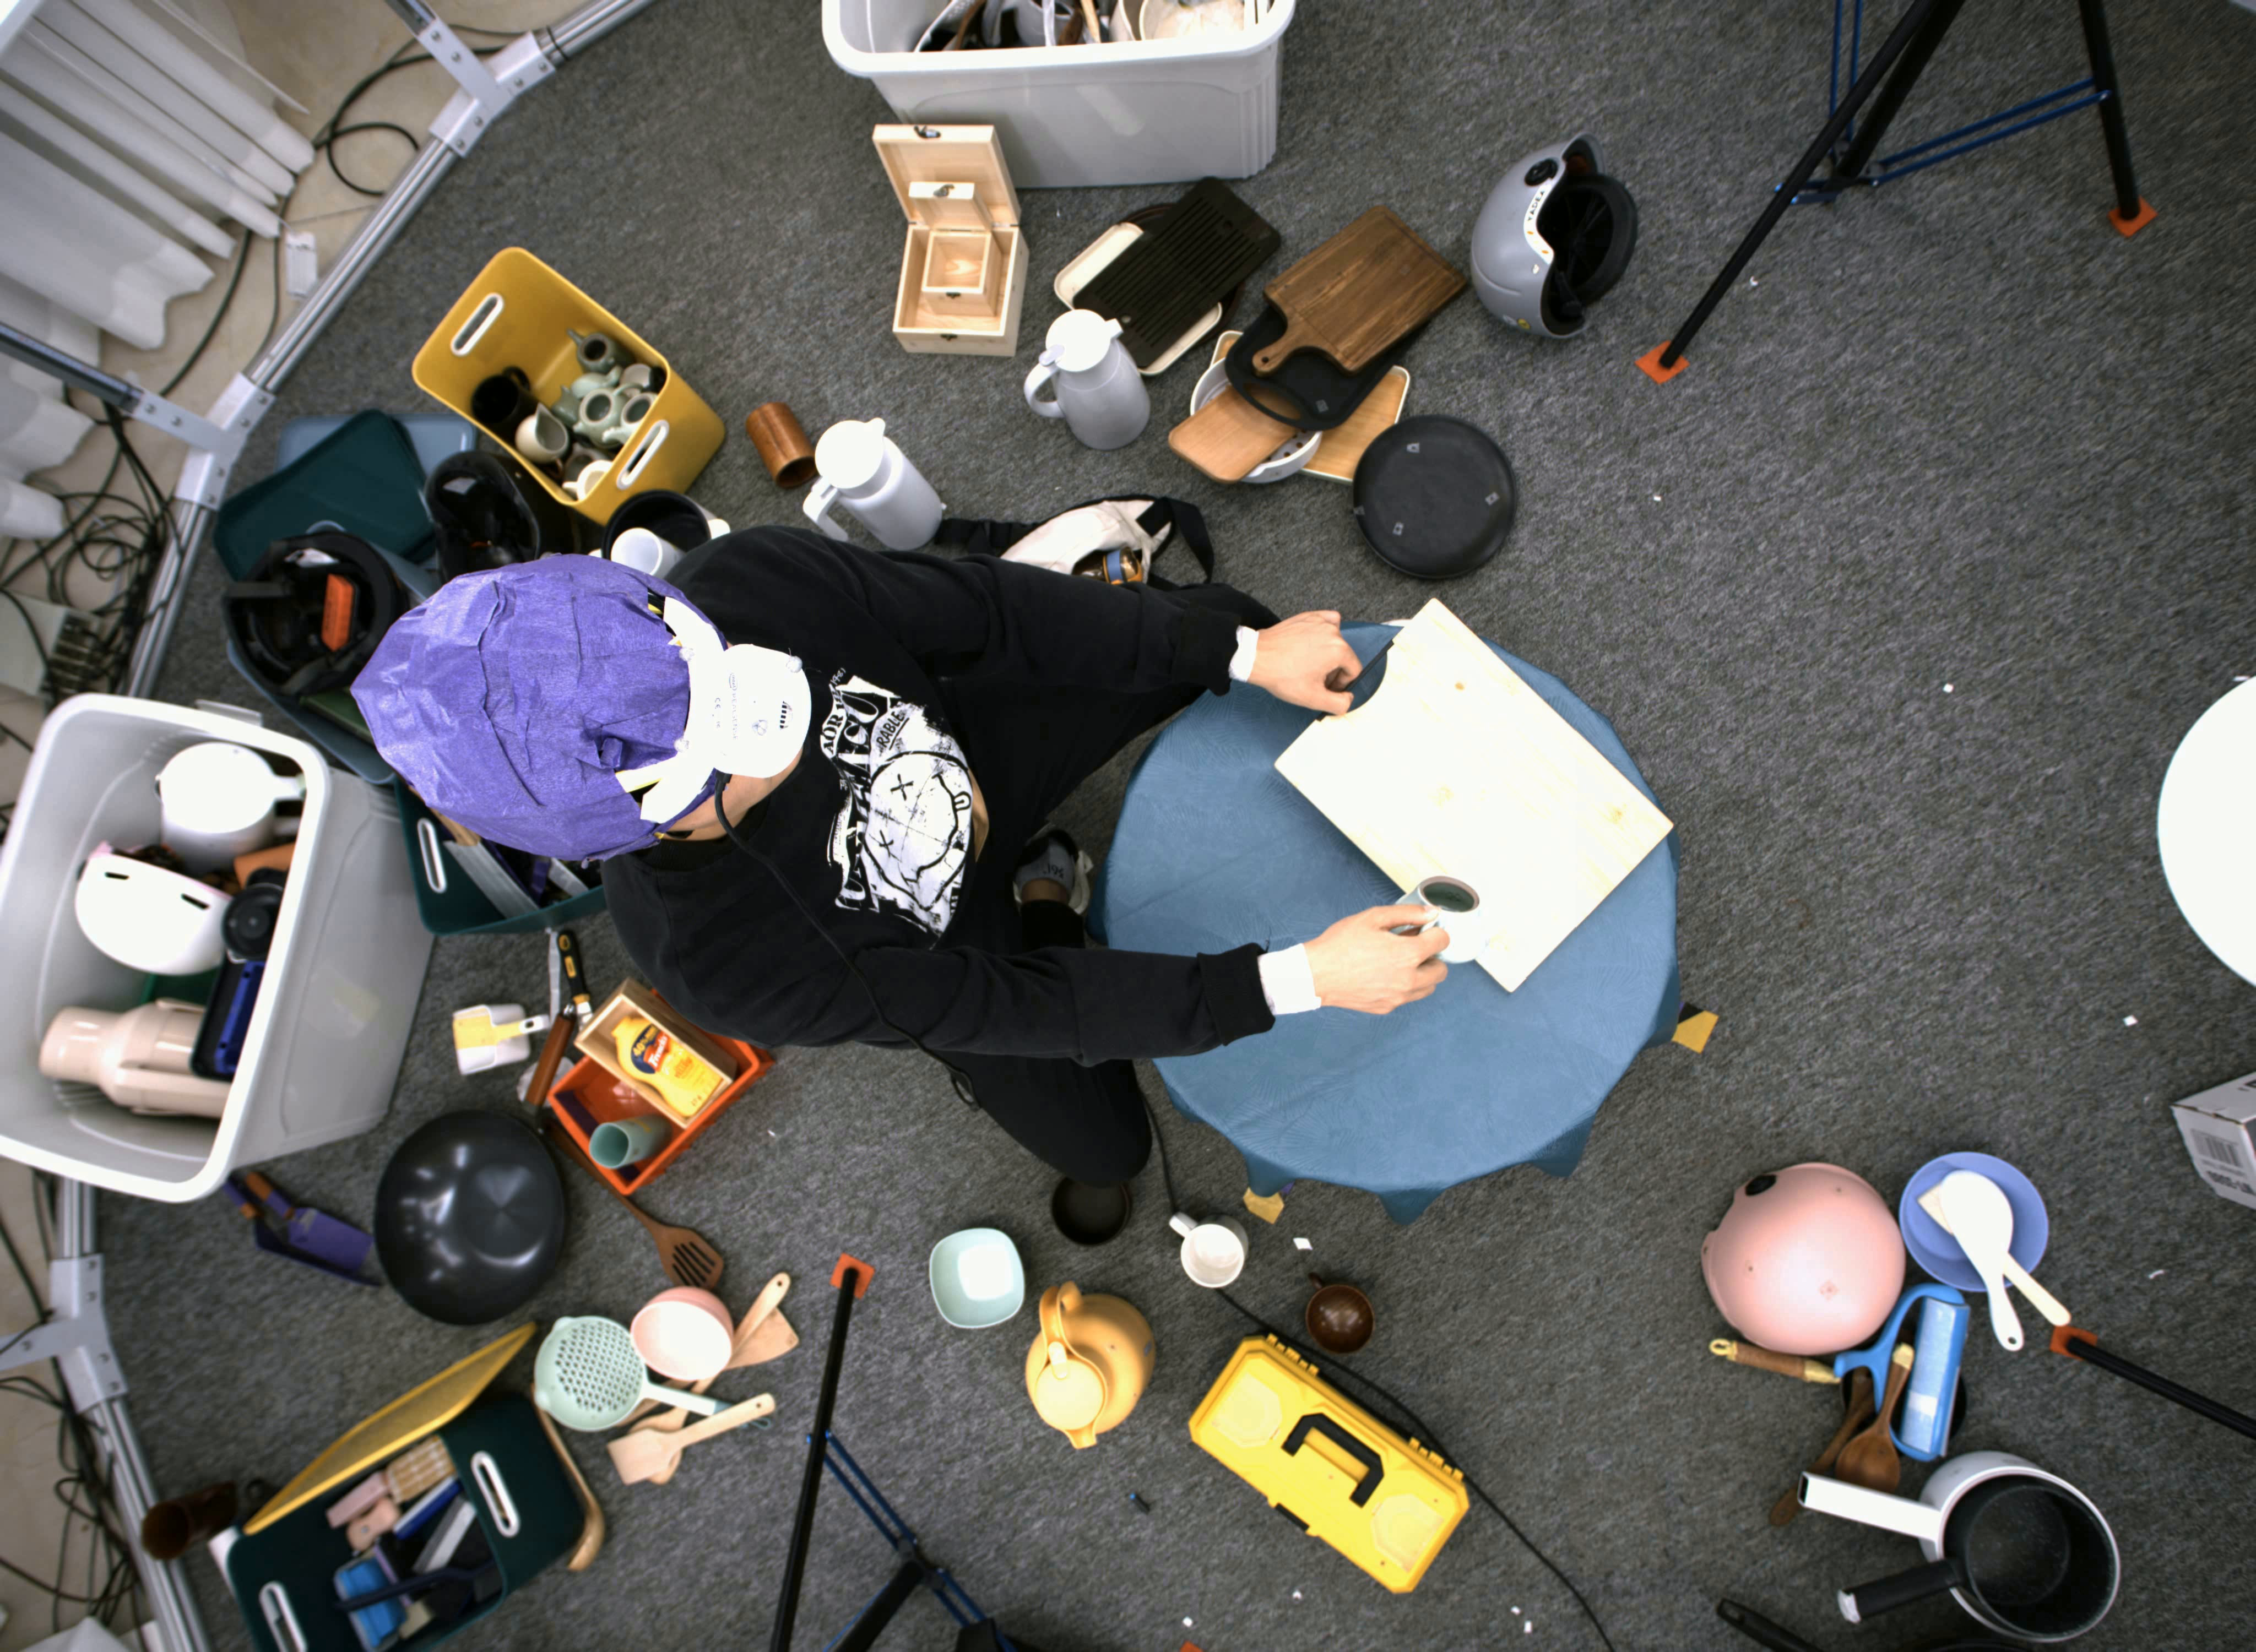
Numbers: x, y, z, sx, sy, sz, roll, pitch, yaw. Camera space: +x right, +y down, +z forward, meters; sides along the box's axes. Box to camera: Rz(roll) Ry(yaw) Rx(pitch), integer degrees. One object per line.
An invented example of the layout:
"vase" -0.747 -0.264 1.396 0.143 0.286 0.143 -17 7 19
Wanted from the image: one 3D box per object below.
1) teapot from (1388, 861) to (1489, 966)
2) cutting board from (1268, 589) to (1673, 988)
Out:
"teapot" 0.295 0.088 1.301 0.096 0.133 0.063 23 128 18
"cutting board" 0.351 -0.038 1.416 0.348 0.023 0.252 43 95 1
